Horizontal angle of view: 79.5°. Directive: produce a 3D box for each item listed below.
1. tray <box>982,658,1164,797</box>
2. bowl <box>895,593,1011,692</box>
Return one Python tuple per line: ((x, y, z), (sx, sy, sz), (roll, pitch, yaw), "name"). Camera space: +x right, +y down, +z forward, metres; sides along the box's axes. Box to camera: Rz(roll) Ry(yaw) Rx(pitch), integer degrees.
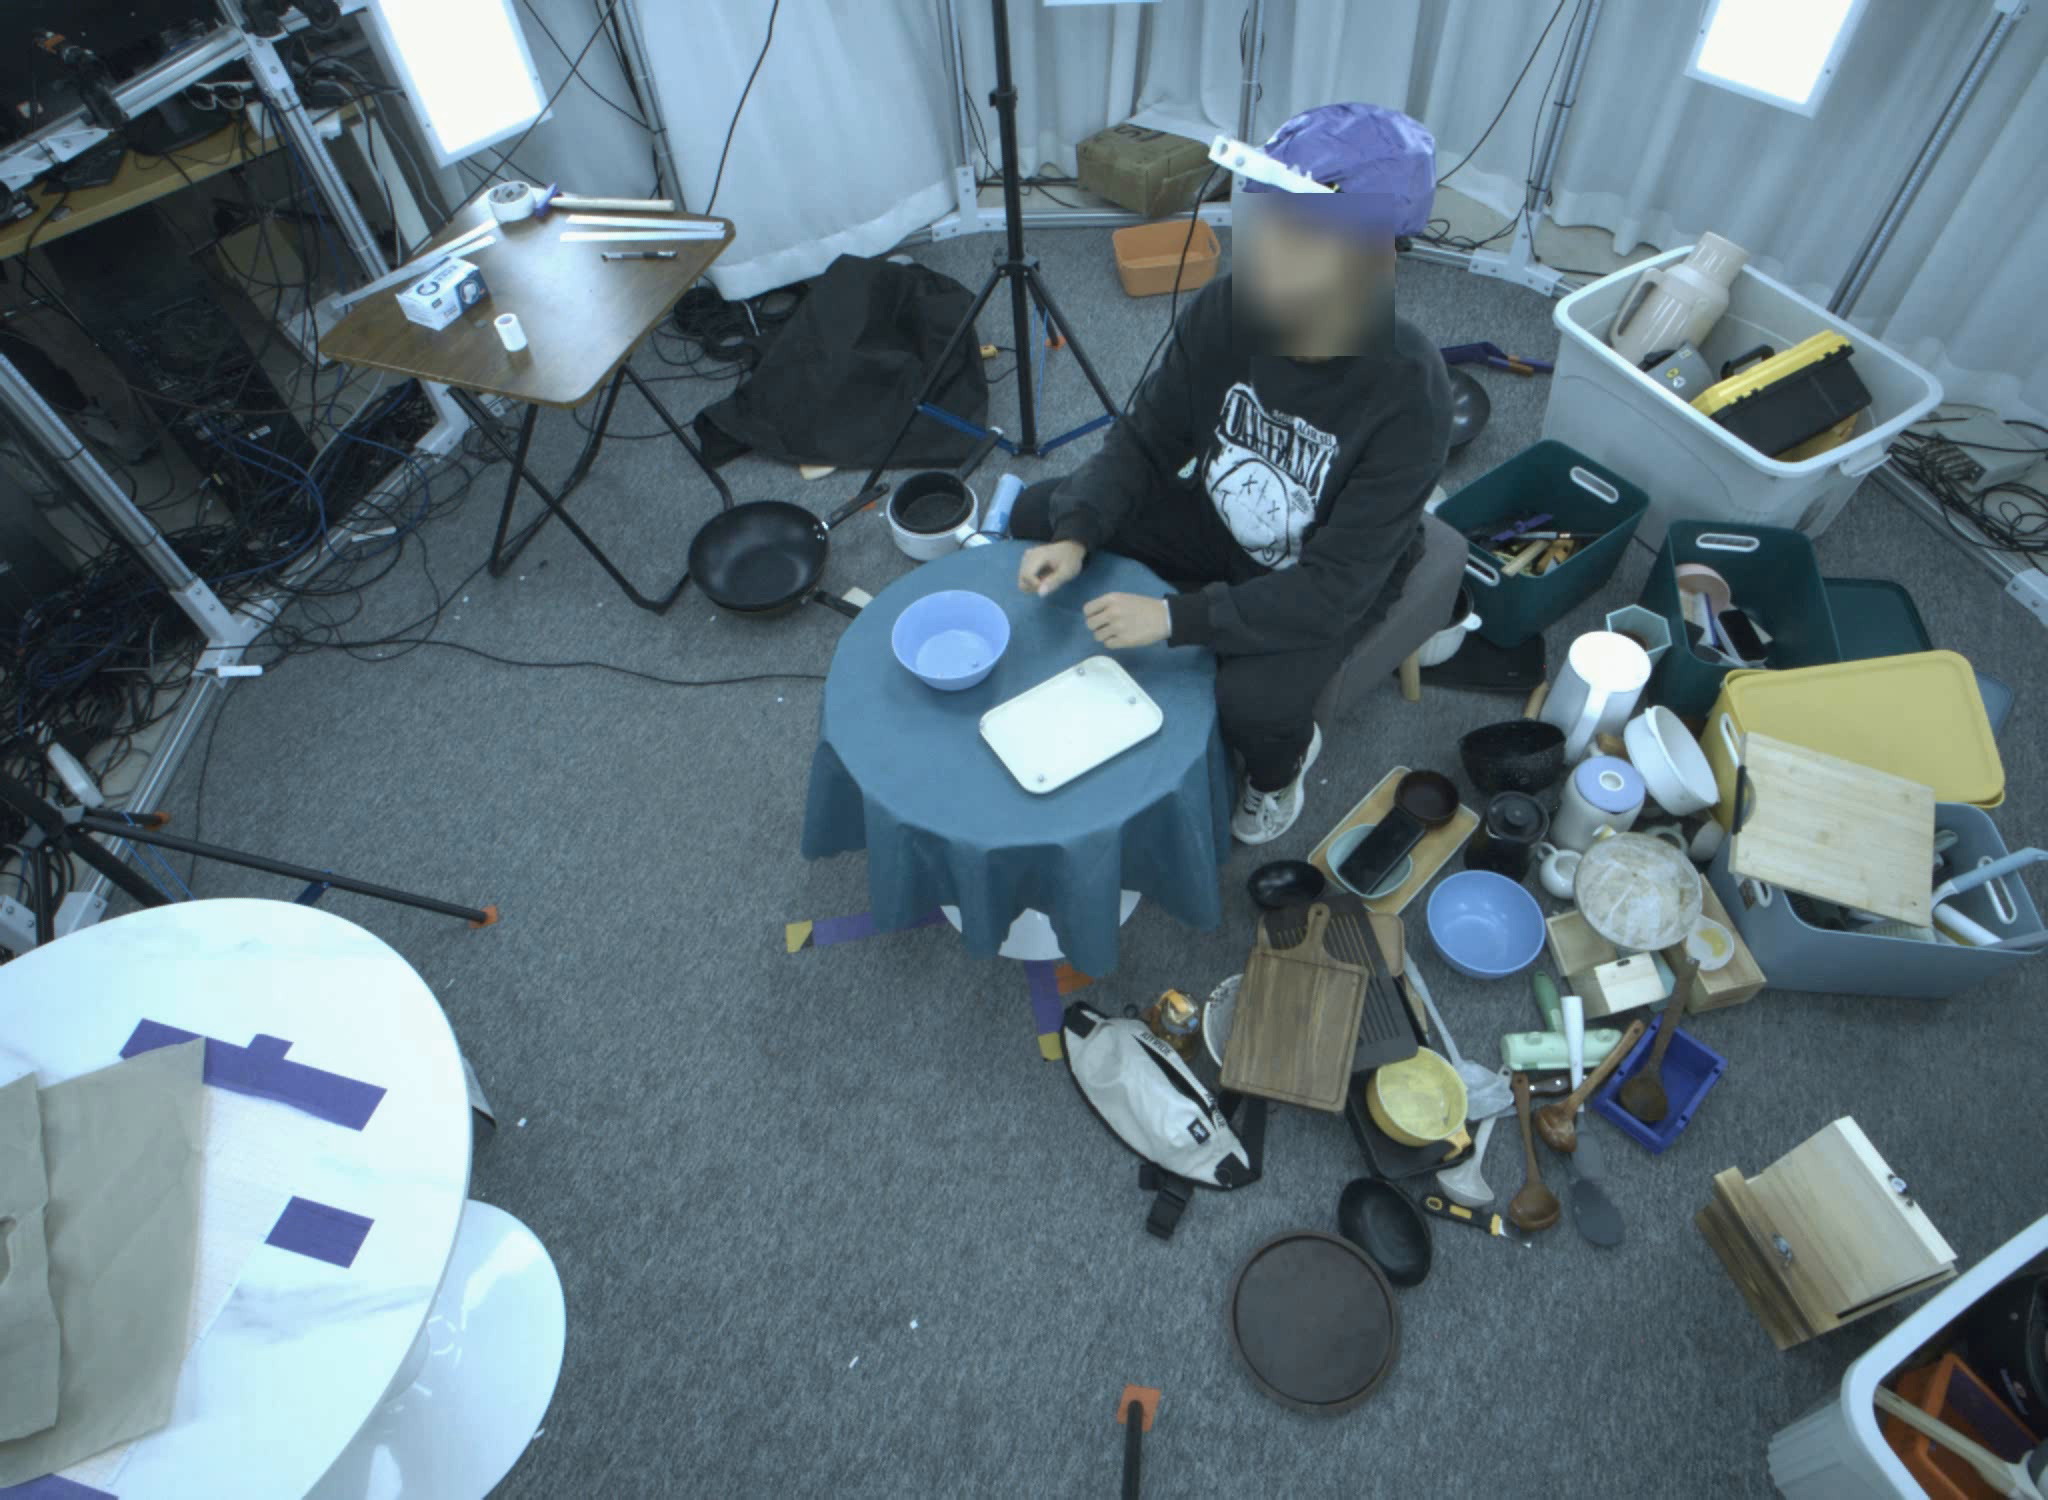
((0.072, -0.034, 1.808), (0.241, 0.017, 0.168), (-29, 59, -17), "tray")
((-0.105, -0.153, 1.865), (0.176, 0.071, 0.174), (-1, 56, 2), "bowl")
